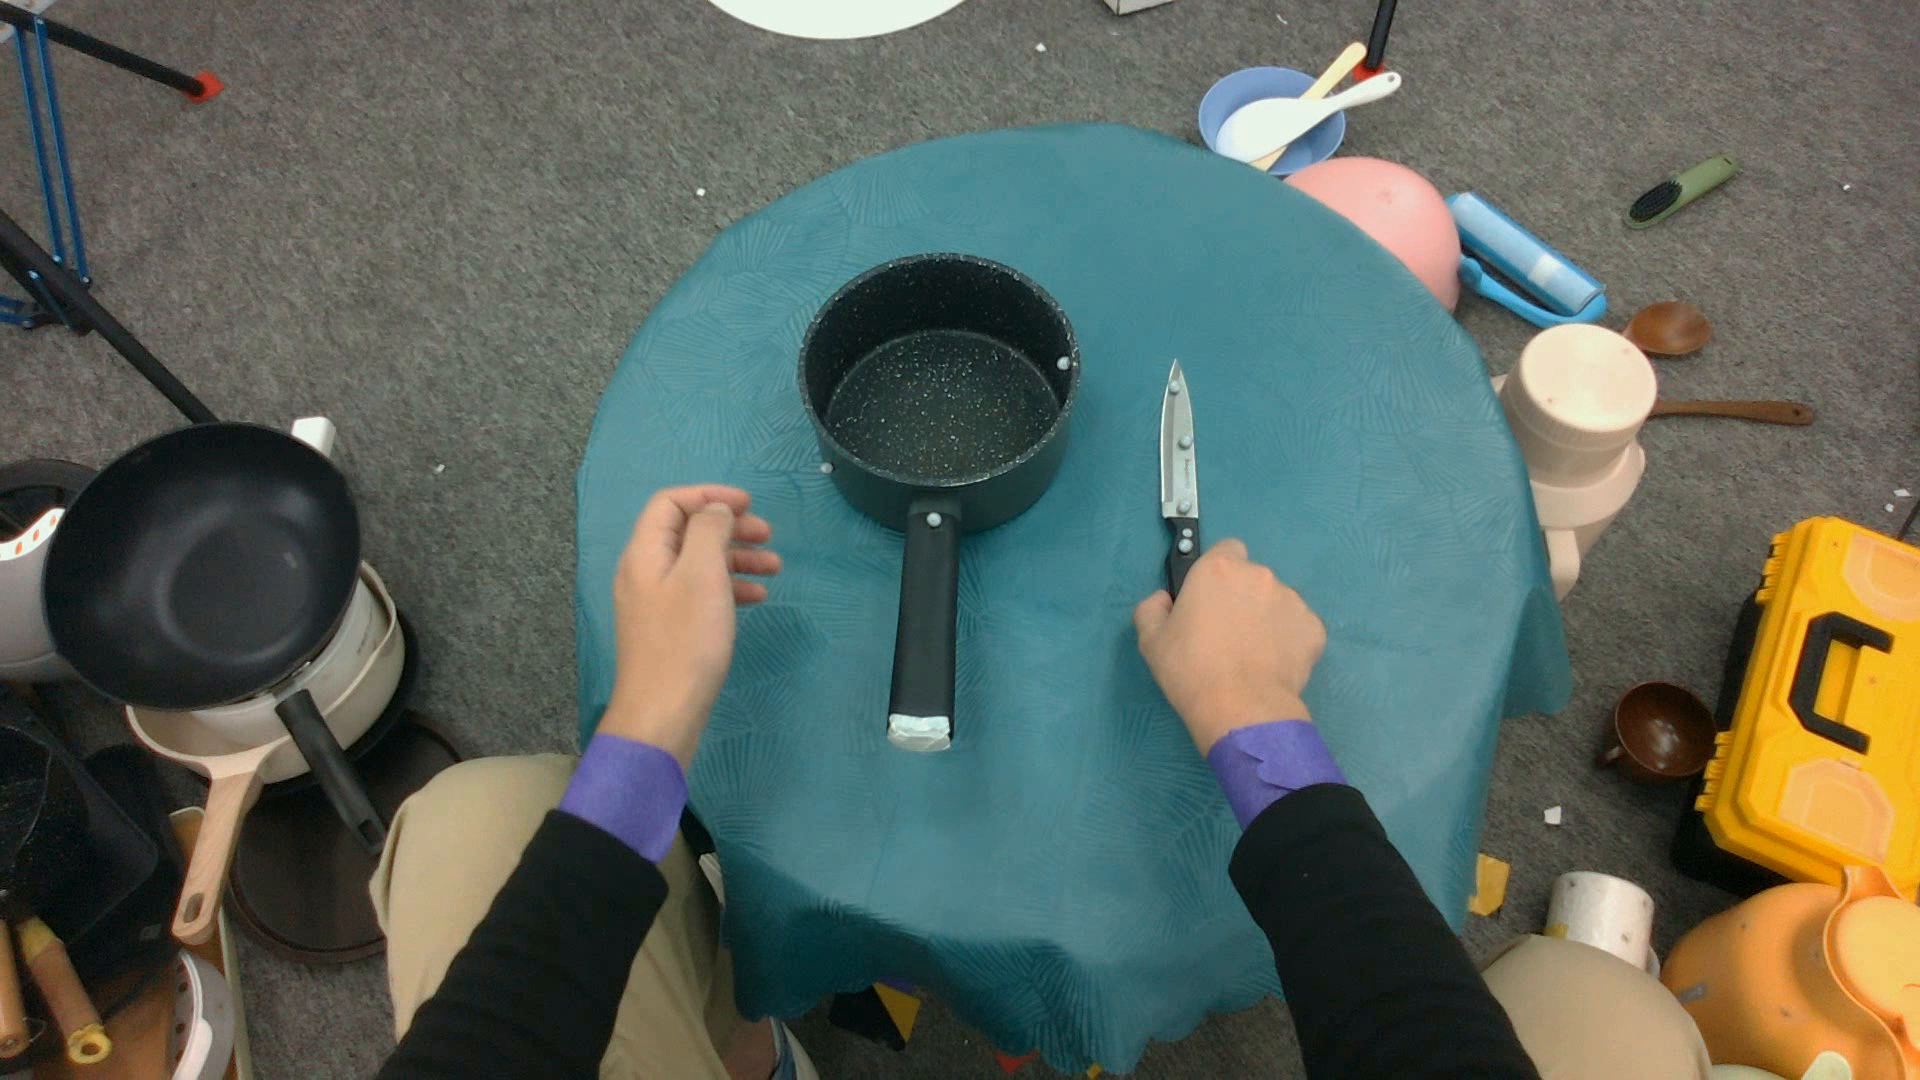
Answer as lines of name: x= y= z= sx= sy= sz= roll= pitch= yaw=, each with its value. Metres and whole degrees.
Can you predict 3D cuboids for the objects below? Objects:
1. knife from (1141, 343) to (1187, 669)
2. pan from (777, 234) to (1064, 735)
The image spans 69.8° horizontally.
knife: x=0.127 y=-0.029 z=0.855 sx=0.024 sy=0.016 sz=0.239 roll=1 pitch=59 yaw=2
pan: x=-0.028 y=-0.031 z=0.817 sx=0.172 sy=0.086 sz=0.330 roll=3 pitch=61 yaw=3
